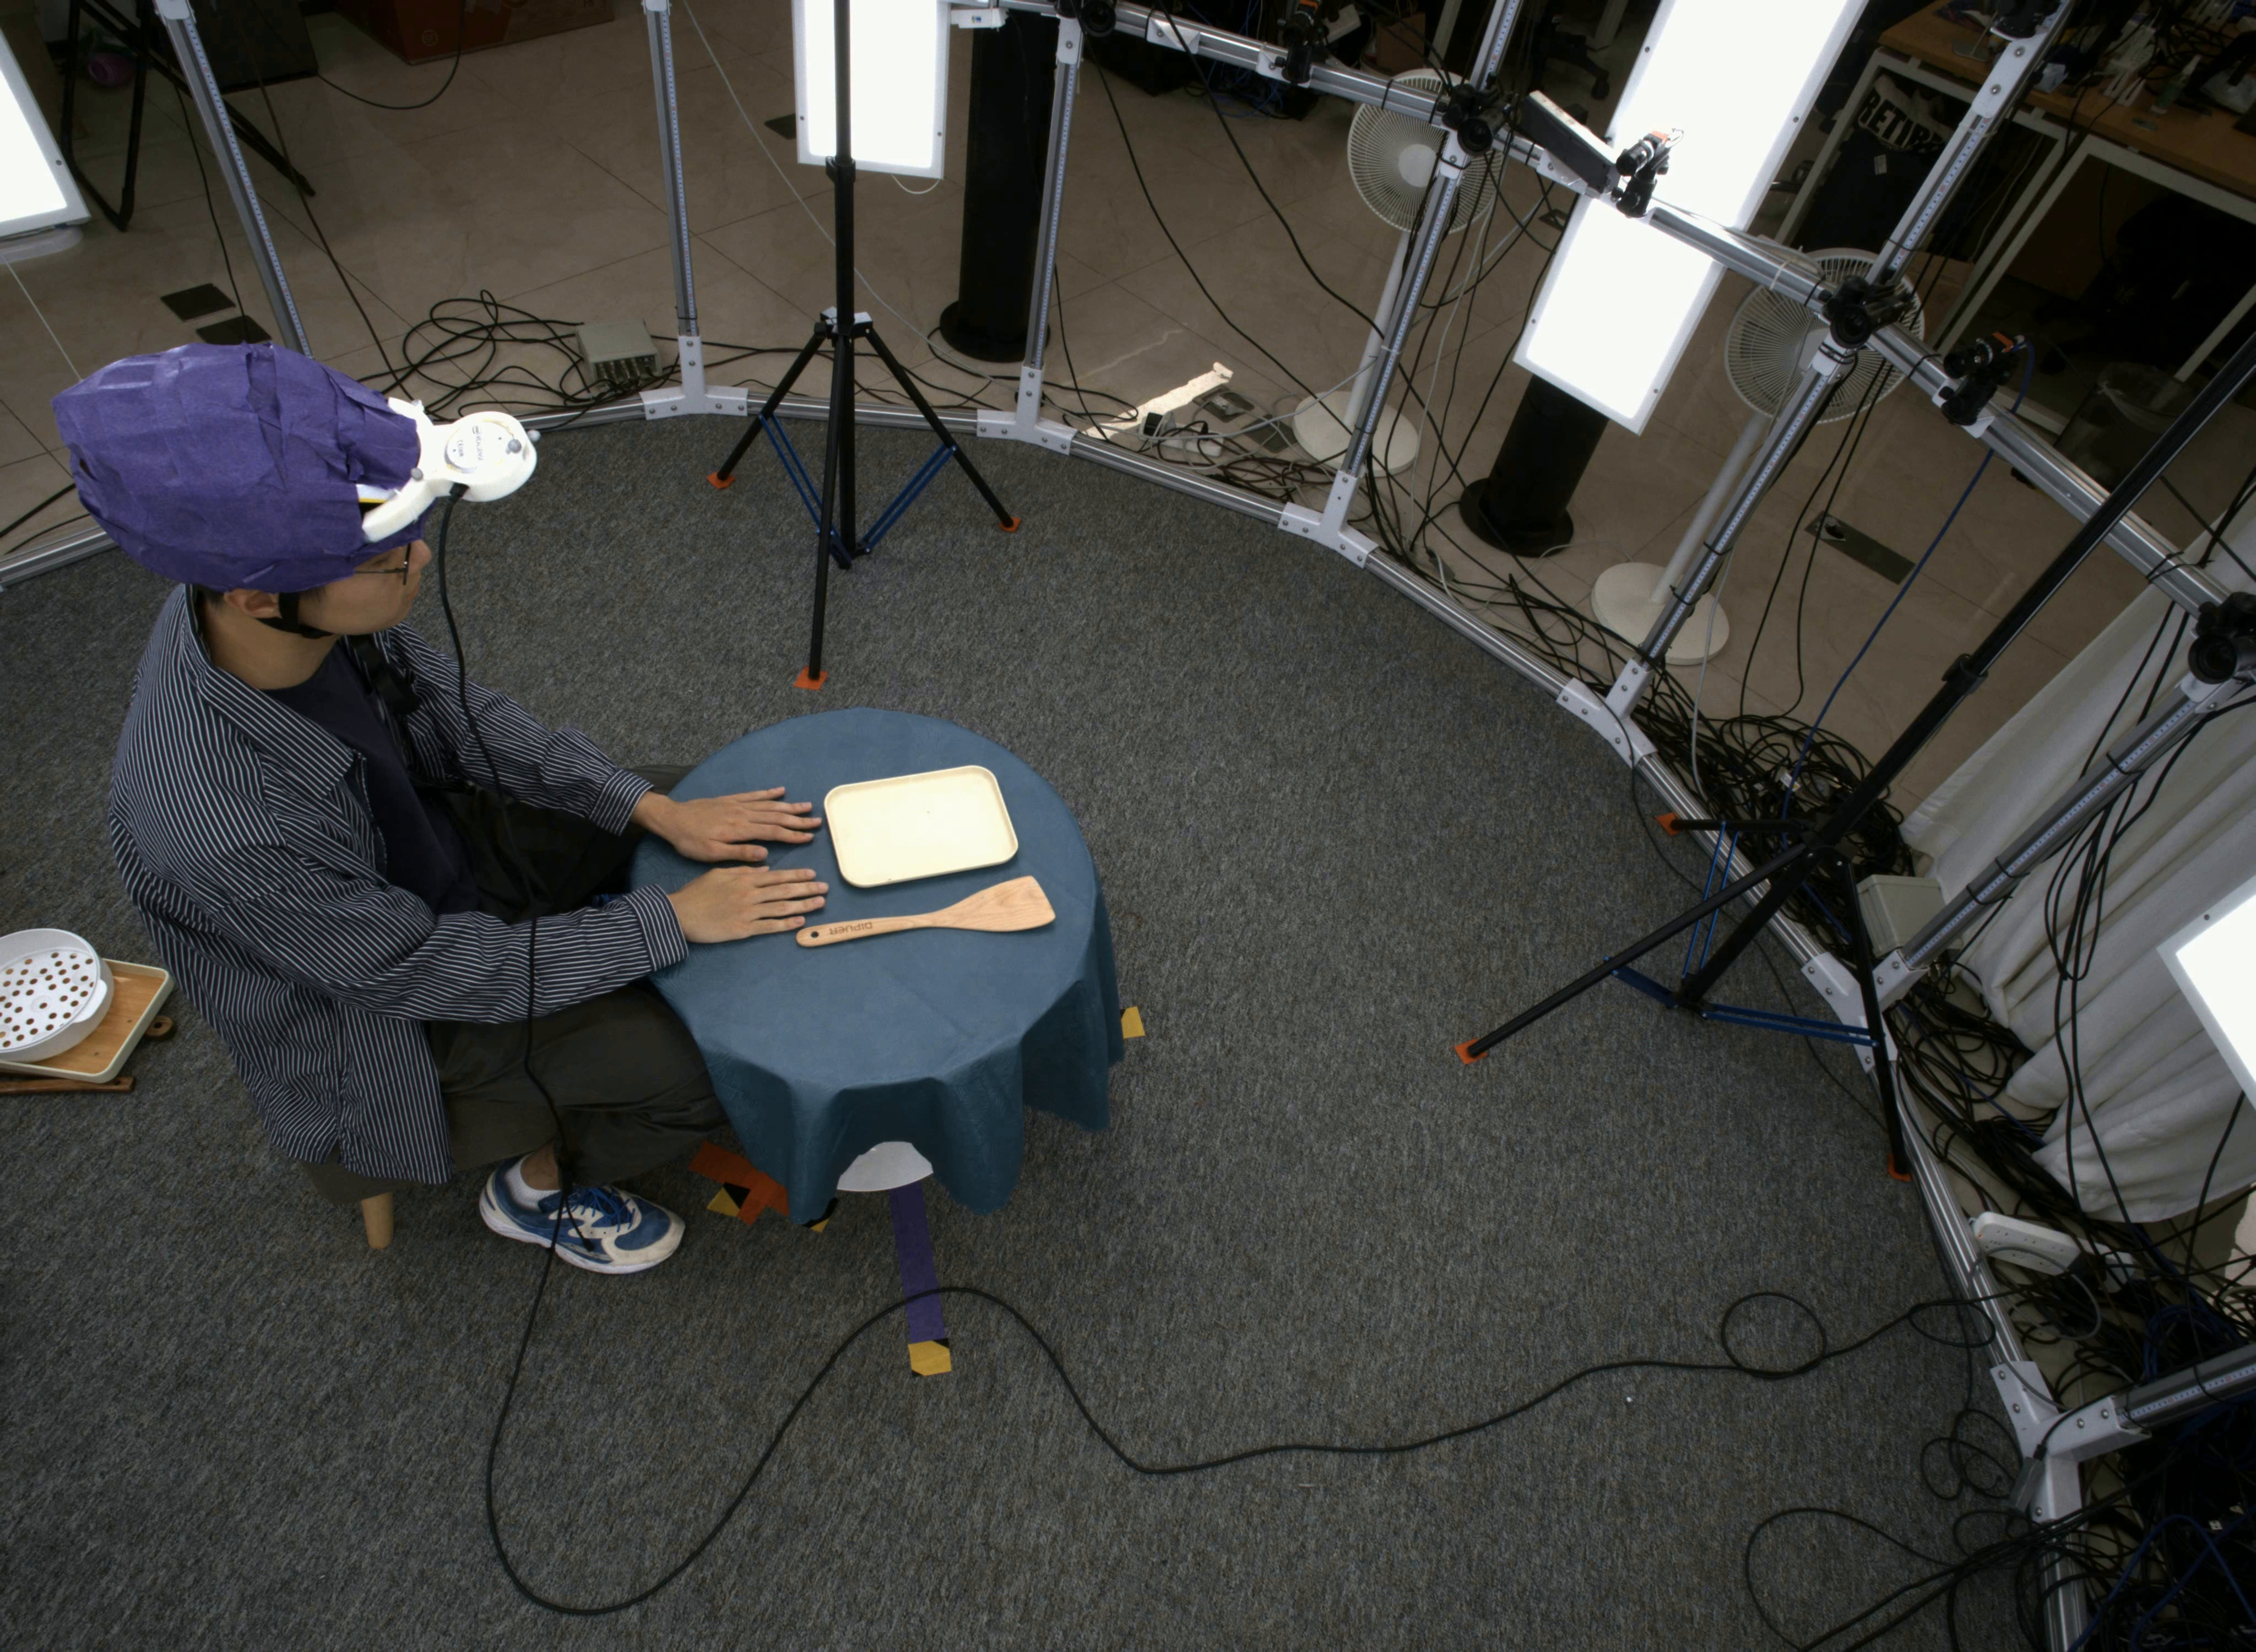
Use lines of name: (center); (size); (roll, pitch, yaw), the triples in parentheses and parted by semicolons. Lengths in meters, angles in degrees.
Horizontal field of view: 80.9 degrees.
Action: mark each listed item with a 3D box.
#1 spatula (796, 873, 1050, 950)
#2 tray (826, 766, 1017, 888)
spatula: (-0.265, 0.117, 1.682); (0.329, 0.017, 0.078); (-9, 56, -20)
tray: (-0.280, 0.000, 1.764); (0.240, 0.018, 0.167); (-10, 56, -20)
